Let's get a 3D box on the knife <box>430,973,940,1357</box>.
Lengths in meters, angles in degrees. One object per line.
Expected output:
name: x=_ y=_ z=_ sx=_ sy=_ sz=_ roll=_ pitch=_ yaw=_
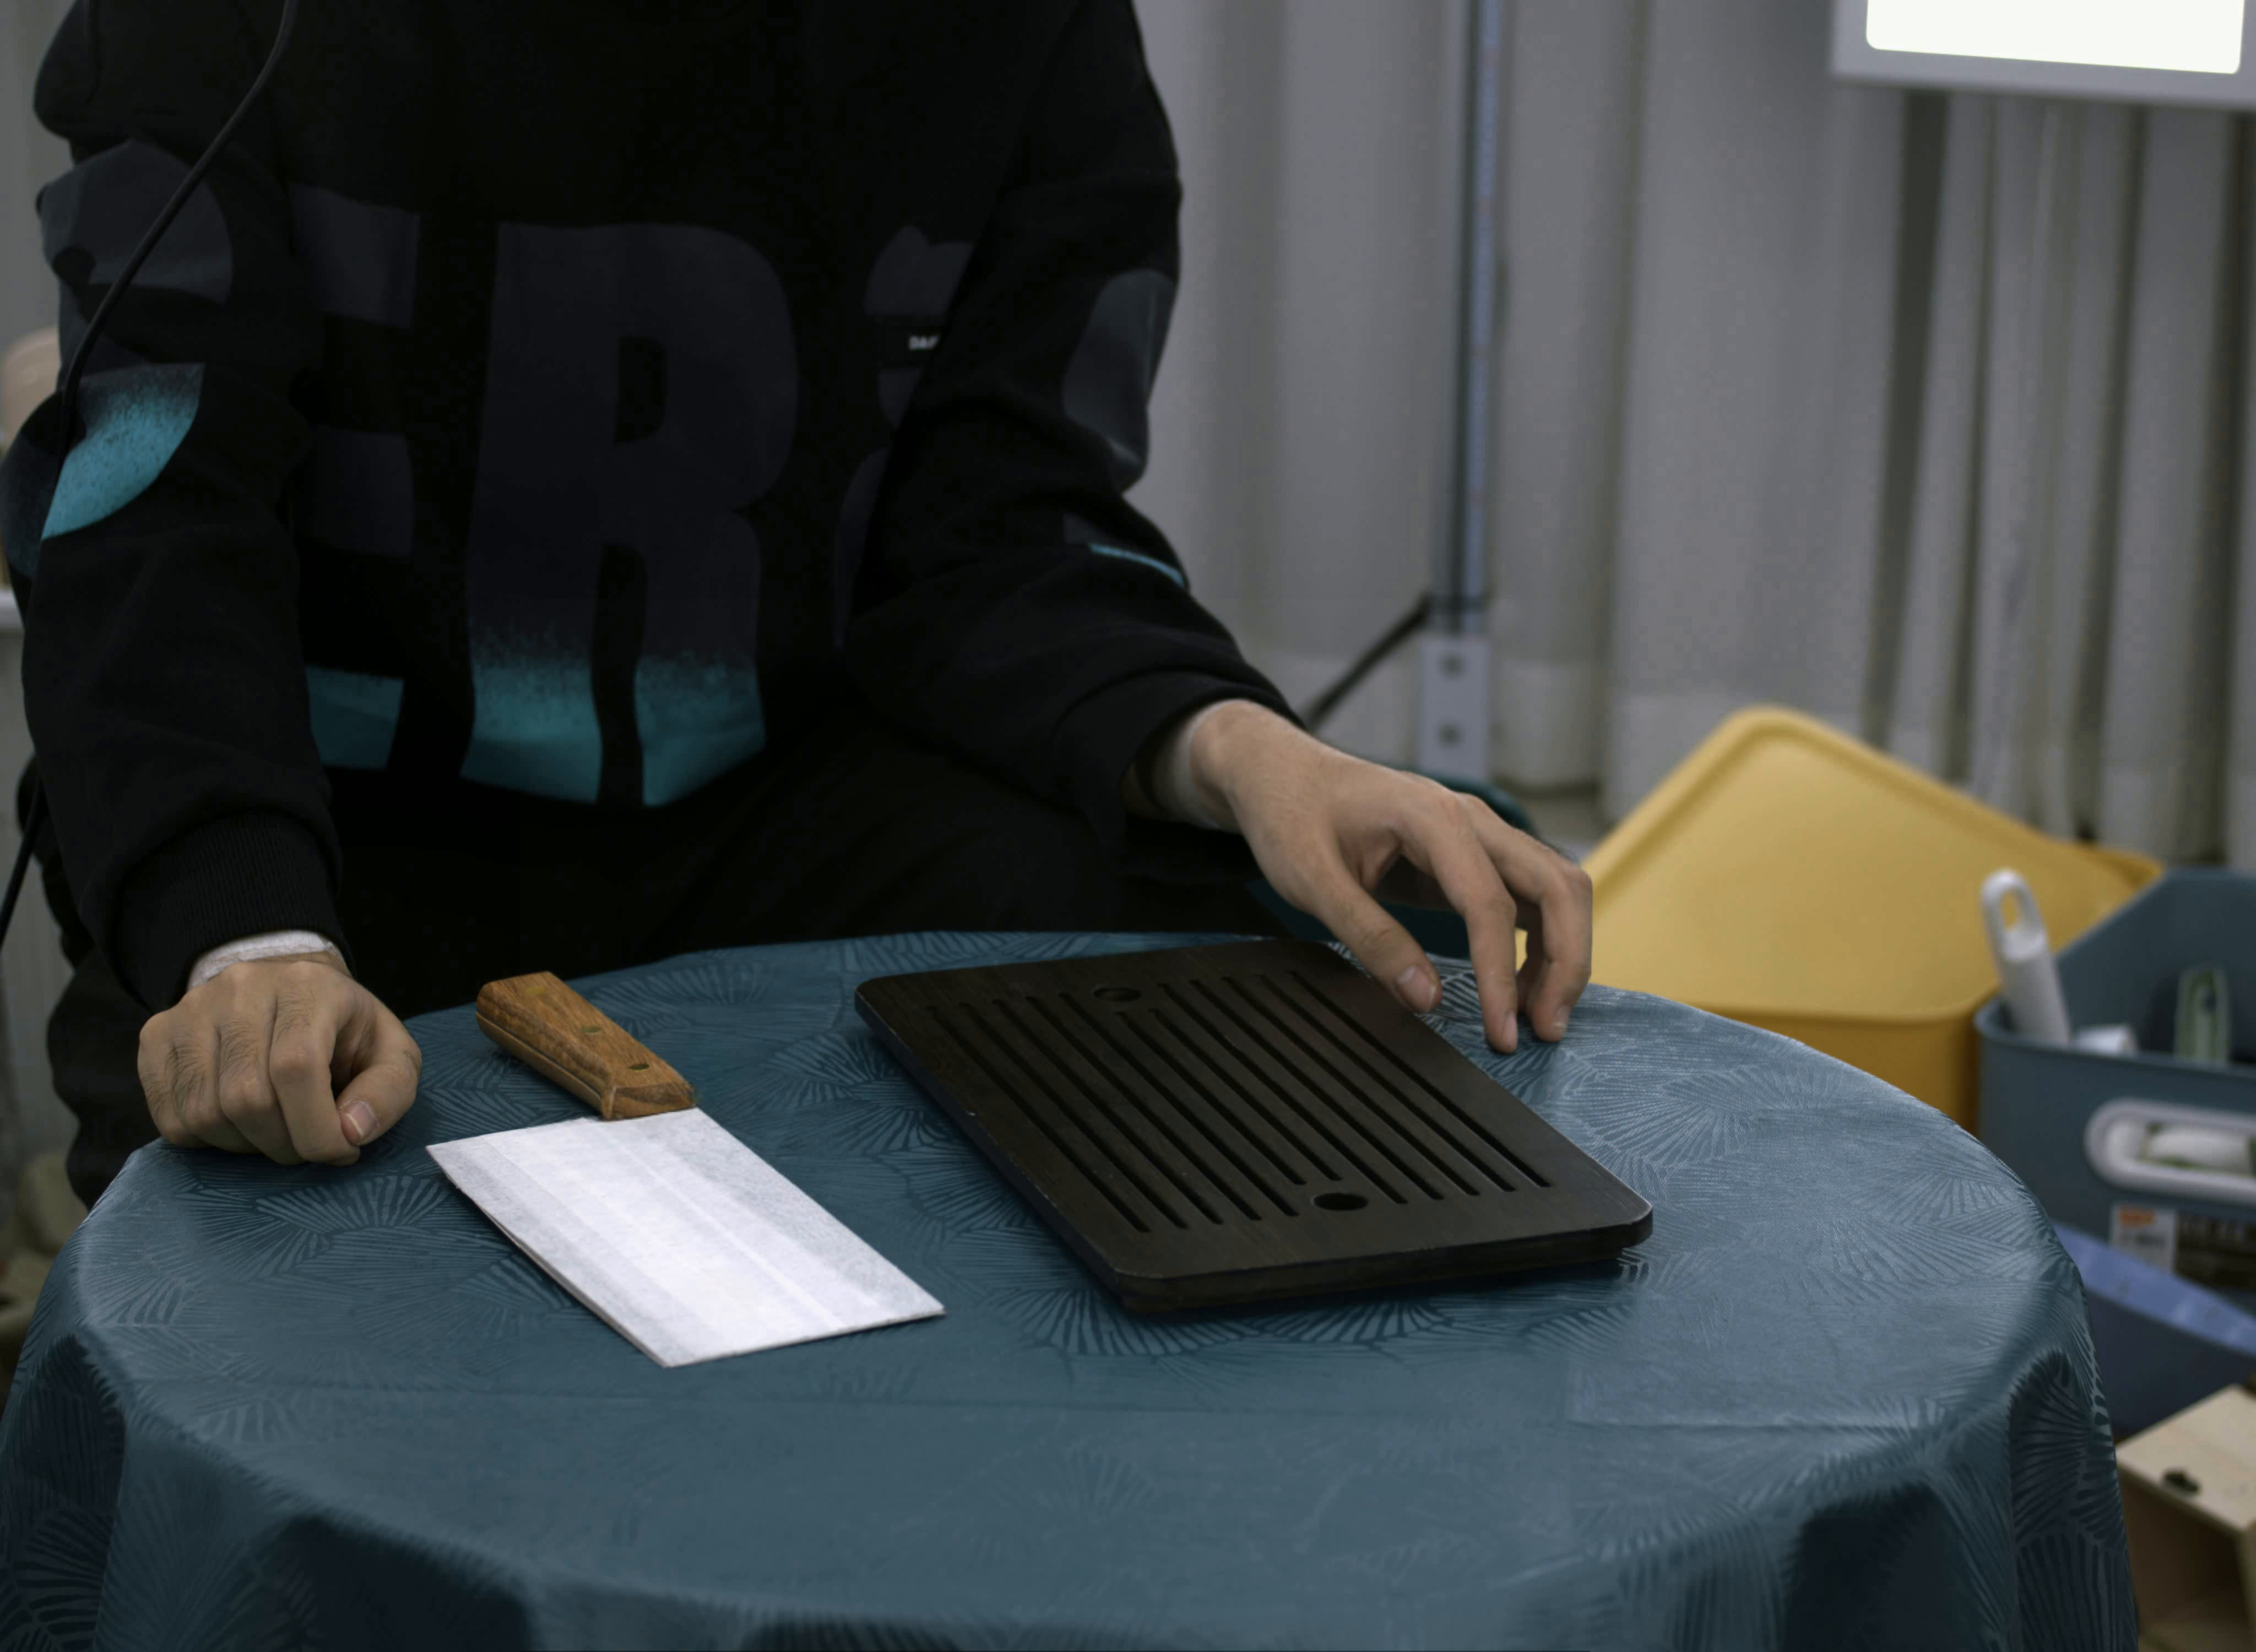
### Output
knife: x=-0.160 y=0.103 z=1.621 sx=0.093 sy=0.021 sz=0.302 roll=-9 pitch=21 yaw=-26

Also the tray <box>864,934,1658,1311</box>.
tray: x=0.034 y=0.090 z=1.668 sx=0.170 sy=0.019 sz=0.302 roll=-5 pitch=17 yaw=-17
